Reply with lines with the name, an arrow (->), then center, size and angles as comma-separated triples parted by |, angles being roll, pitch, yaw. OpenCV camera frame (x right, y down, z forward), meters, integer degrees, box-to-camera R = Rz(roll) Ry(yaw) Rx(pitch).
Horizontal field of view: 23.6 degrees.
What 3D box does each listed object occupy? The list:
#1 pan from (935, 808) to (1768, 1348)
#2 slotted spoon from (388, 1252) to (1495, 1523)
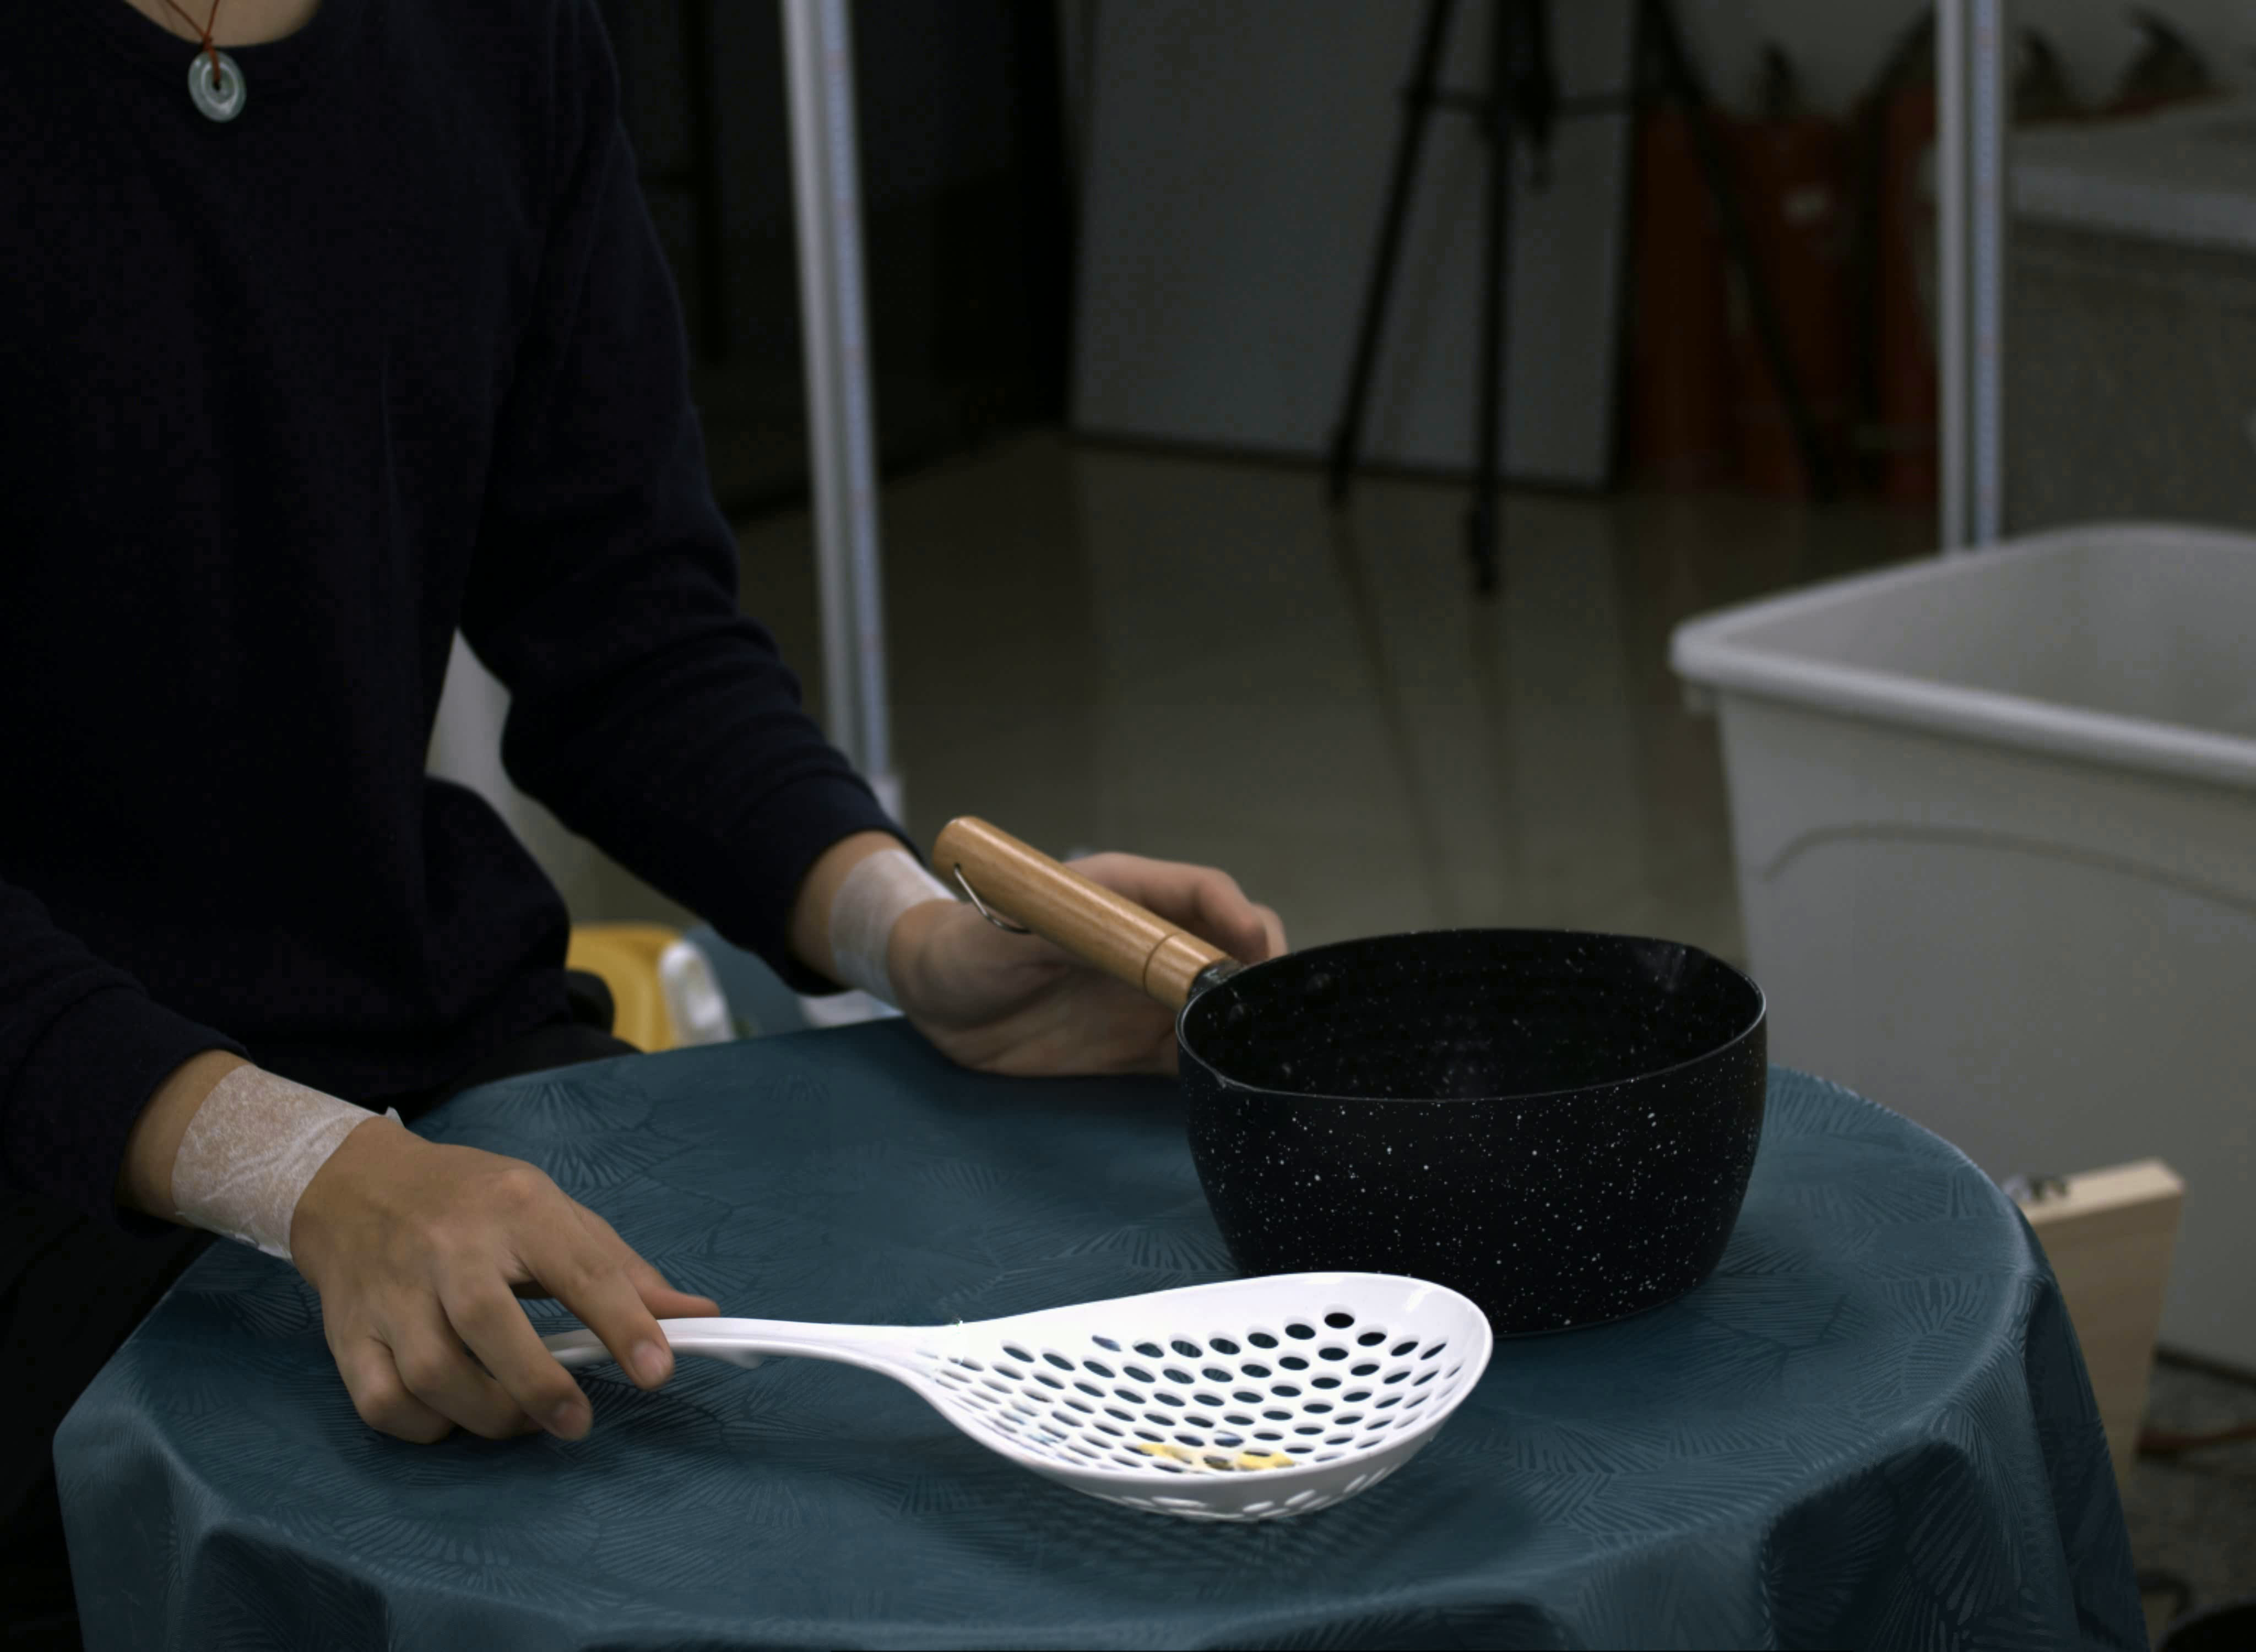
pan -> 0.054, 0.073, 1.722 | 0.203, 0.109, 0.346 | -17, 20, -39
slotted spoon -> -0.061, 0.159, 1.541 | 0.348, 0.051, 0.135 | 4, 23, 26
